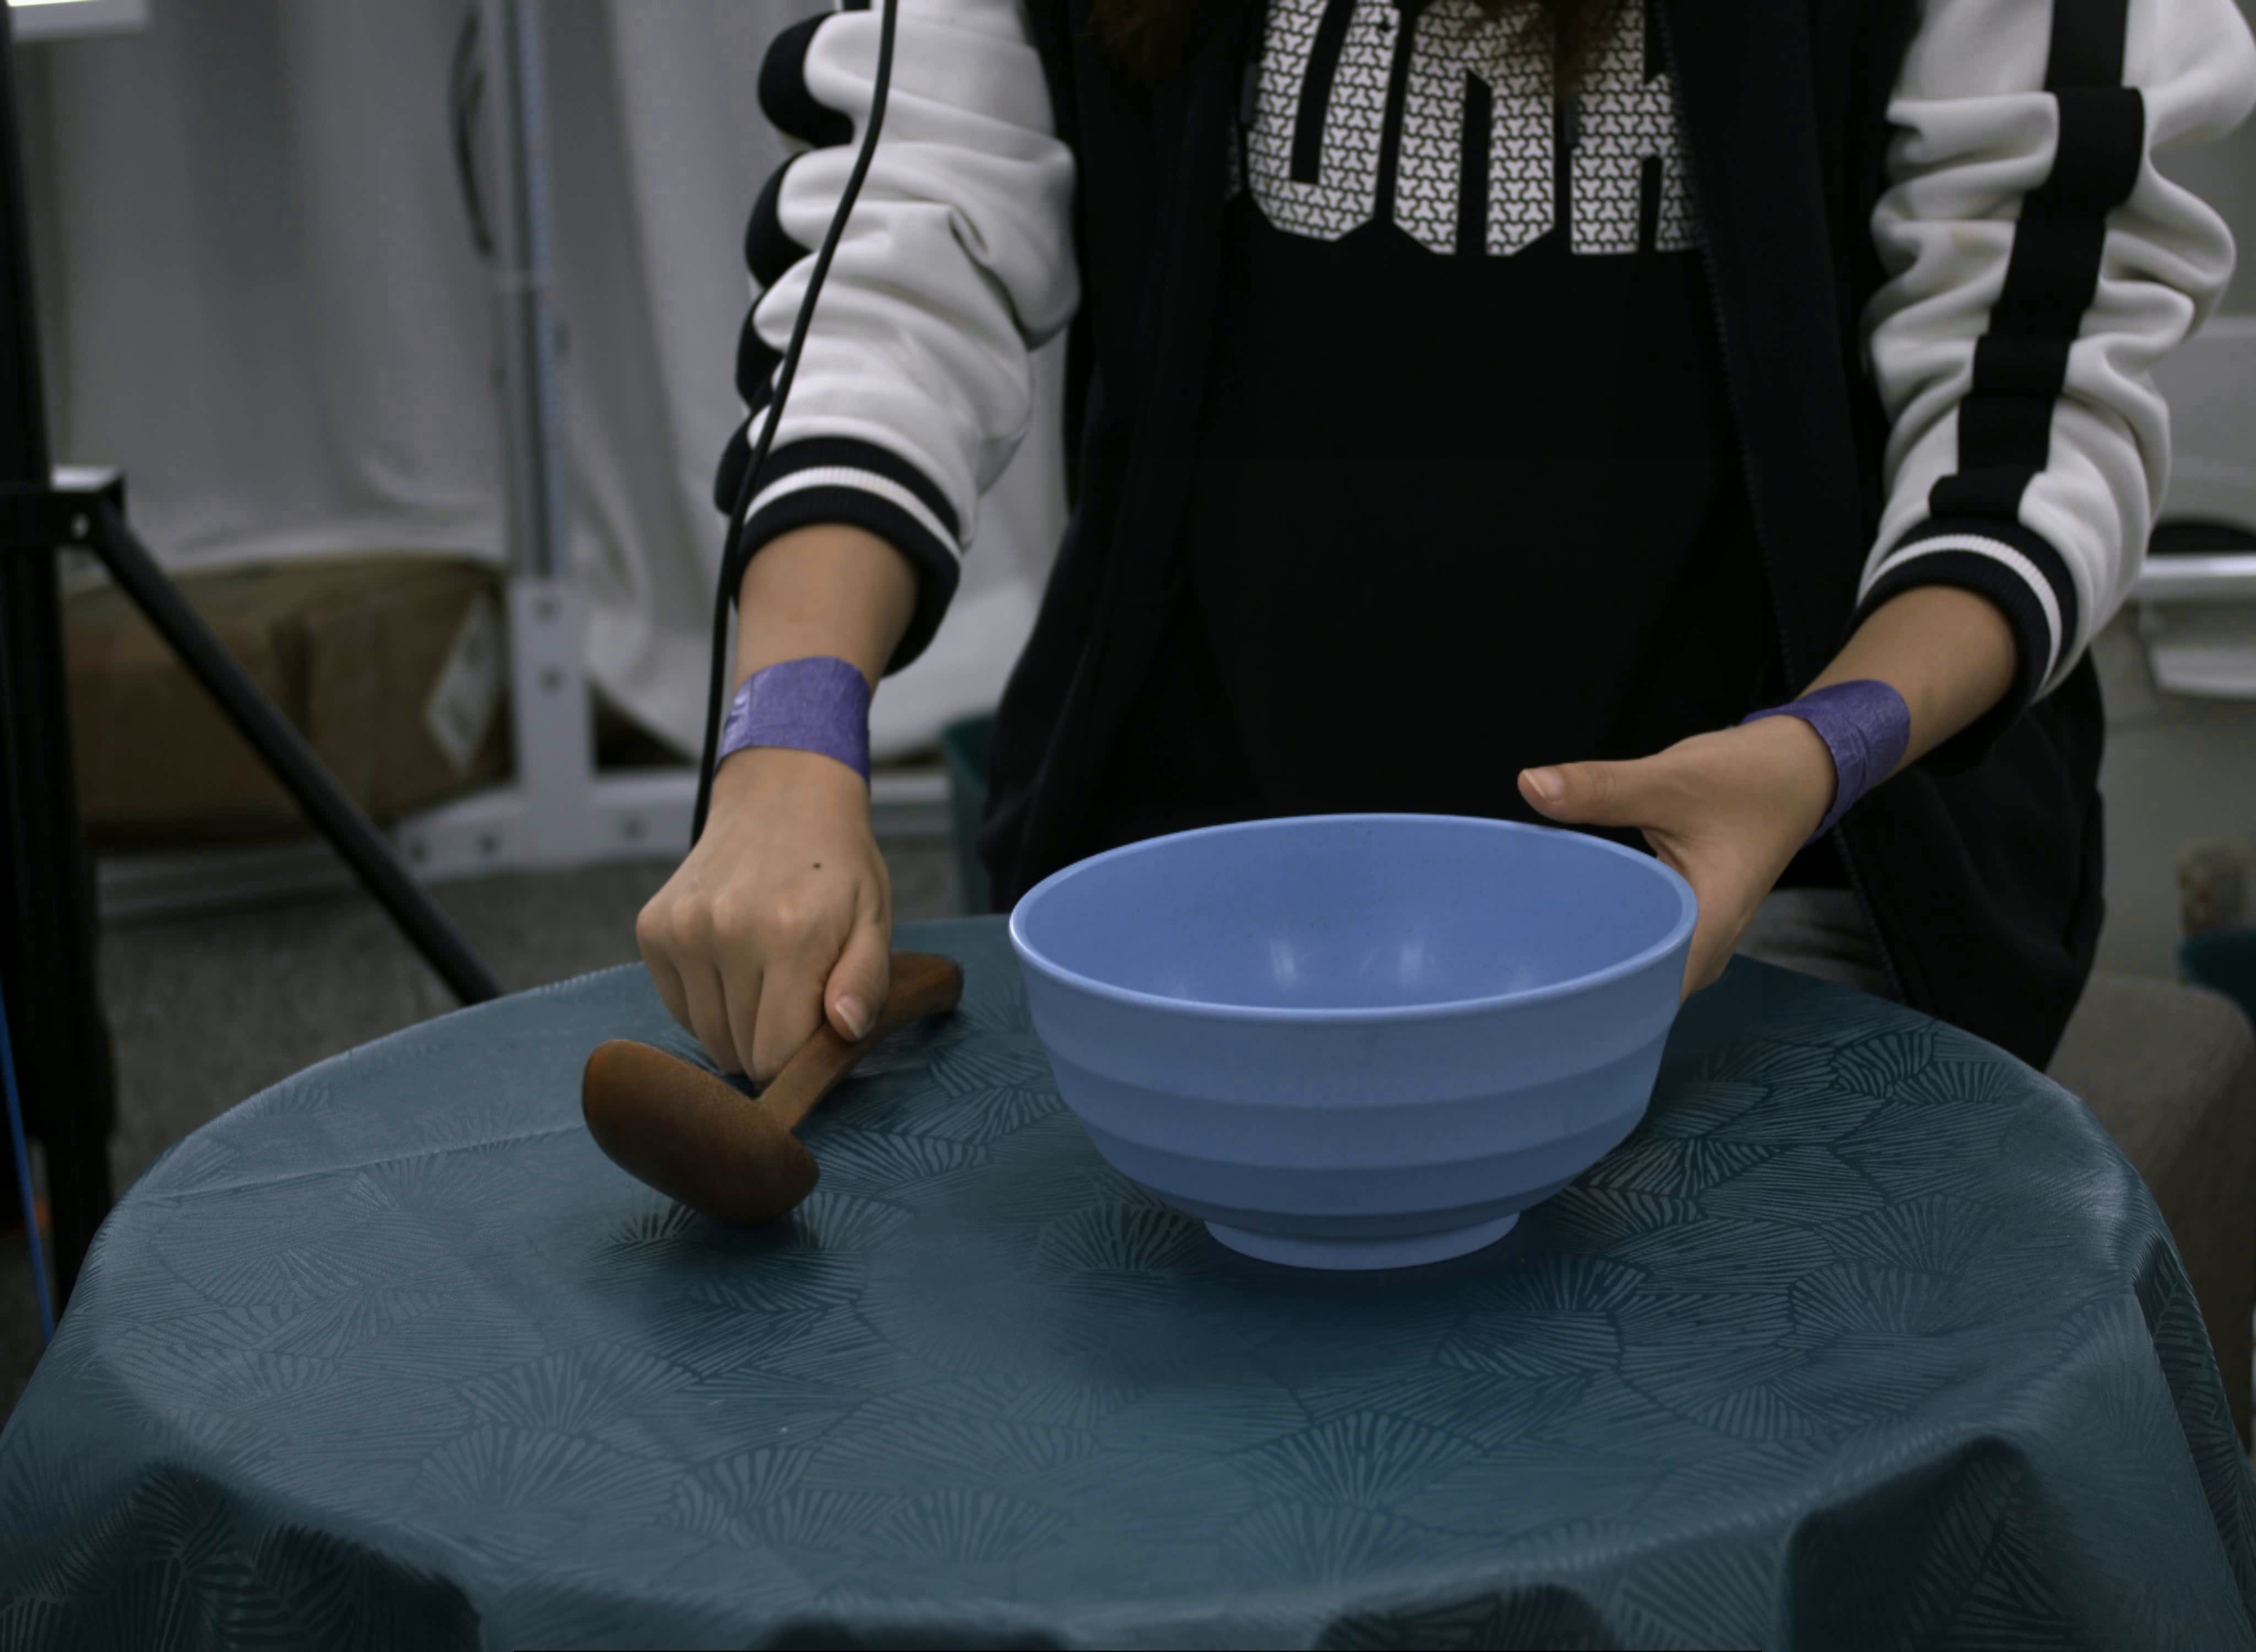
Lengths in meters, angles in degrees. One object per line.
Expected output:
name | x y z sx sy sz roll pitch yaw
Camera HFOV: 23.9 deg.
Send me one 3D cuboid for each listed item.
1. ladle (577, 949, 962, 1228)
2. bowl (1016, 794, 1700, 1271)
ladle | -0.093 0.063 1.620 0.077 0.065 0.257 30 23 10
bowl | 0.071 0.066 1.522 0.196 0.095 0.197 -8 17 1
